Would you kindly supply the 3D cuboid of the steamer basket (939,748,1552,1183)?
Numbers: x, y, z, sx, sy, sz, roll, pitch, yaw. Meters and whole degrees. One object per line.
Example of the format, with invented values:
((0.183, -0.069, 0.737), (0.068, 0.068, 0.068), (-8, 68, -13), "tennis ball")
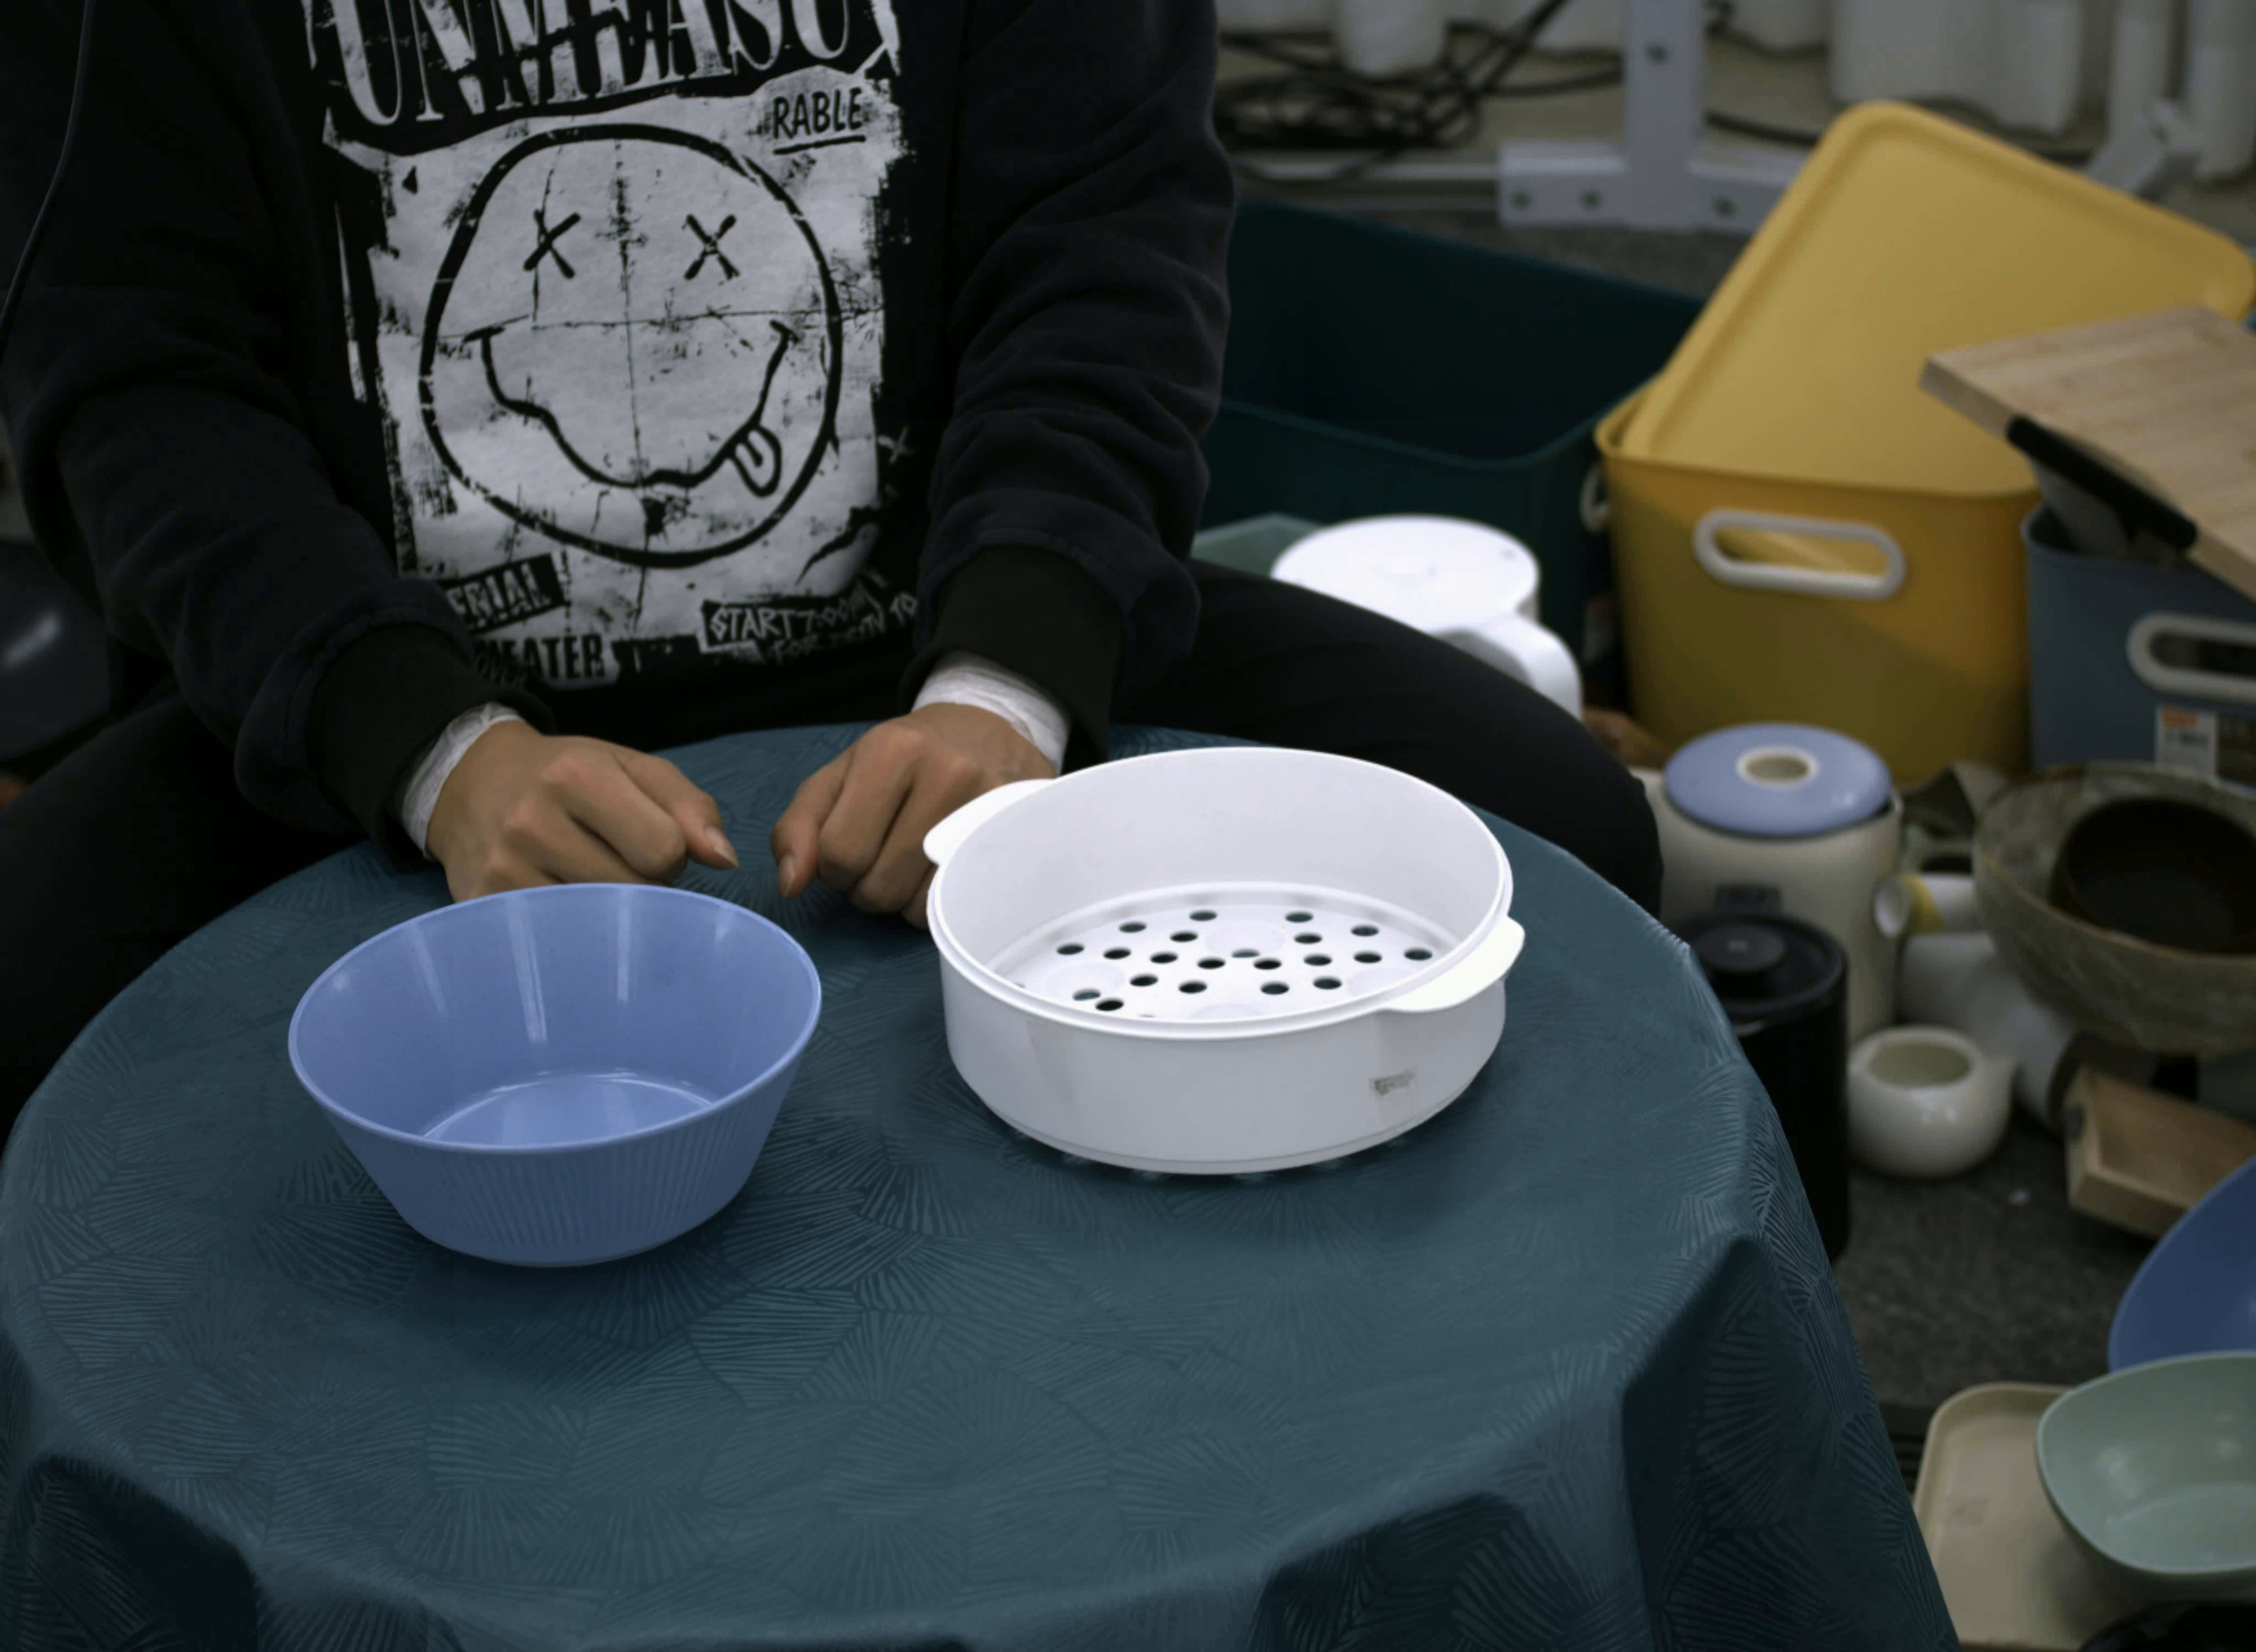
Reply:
((0.038, 0.048, 1.926), (0.230, 0.068, 0.205), (19, 34, 32), "steamer basket")

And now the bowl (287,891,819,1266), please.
((-0.188, 0.090, 1.865), (0.175, 0.069, 0.179), (-1, 27, 1), "bowl")
